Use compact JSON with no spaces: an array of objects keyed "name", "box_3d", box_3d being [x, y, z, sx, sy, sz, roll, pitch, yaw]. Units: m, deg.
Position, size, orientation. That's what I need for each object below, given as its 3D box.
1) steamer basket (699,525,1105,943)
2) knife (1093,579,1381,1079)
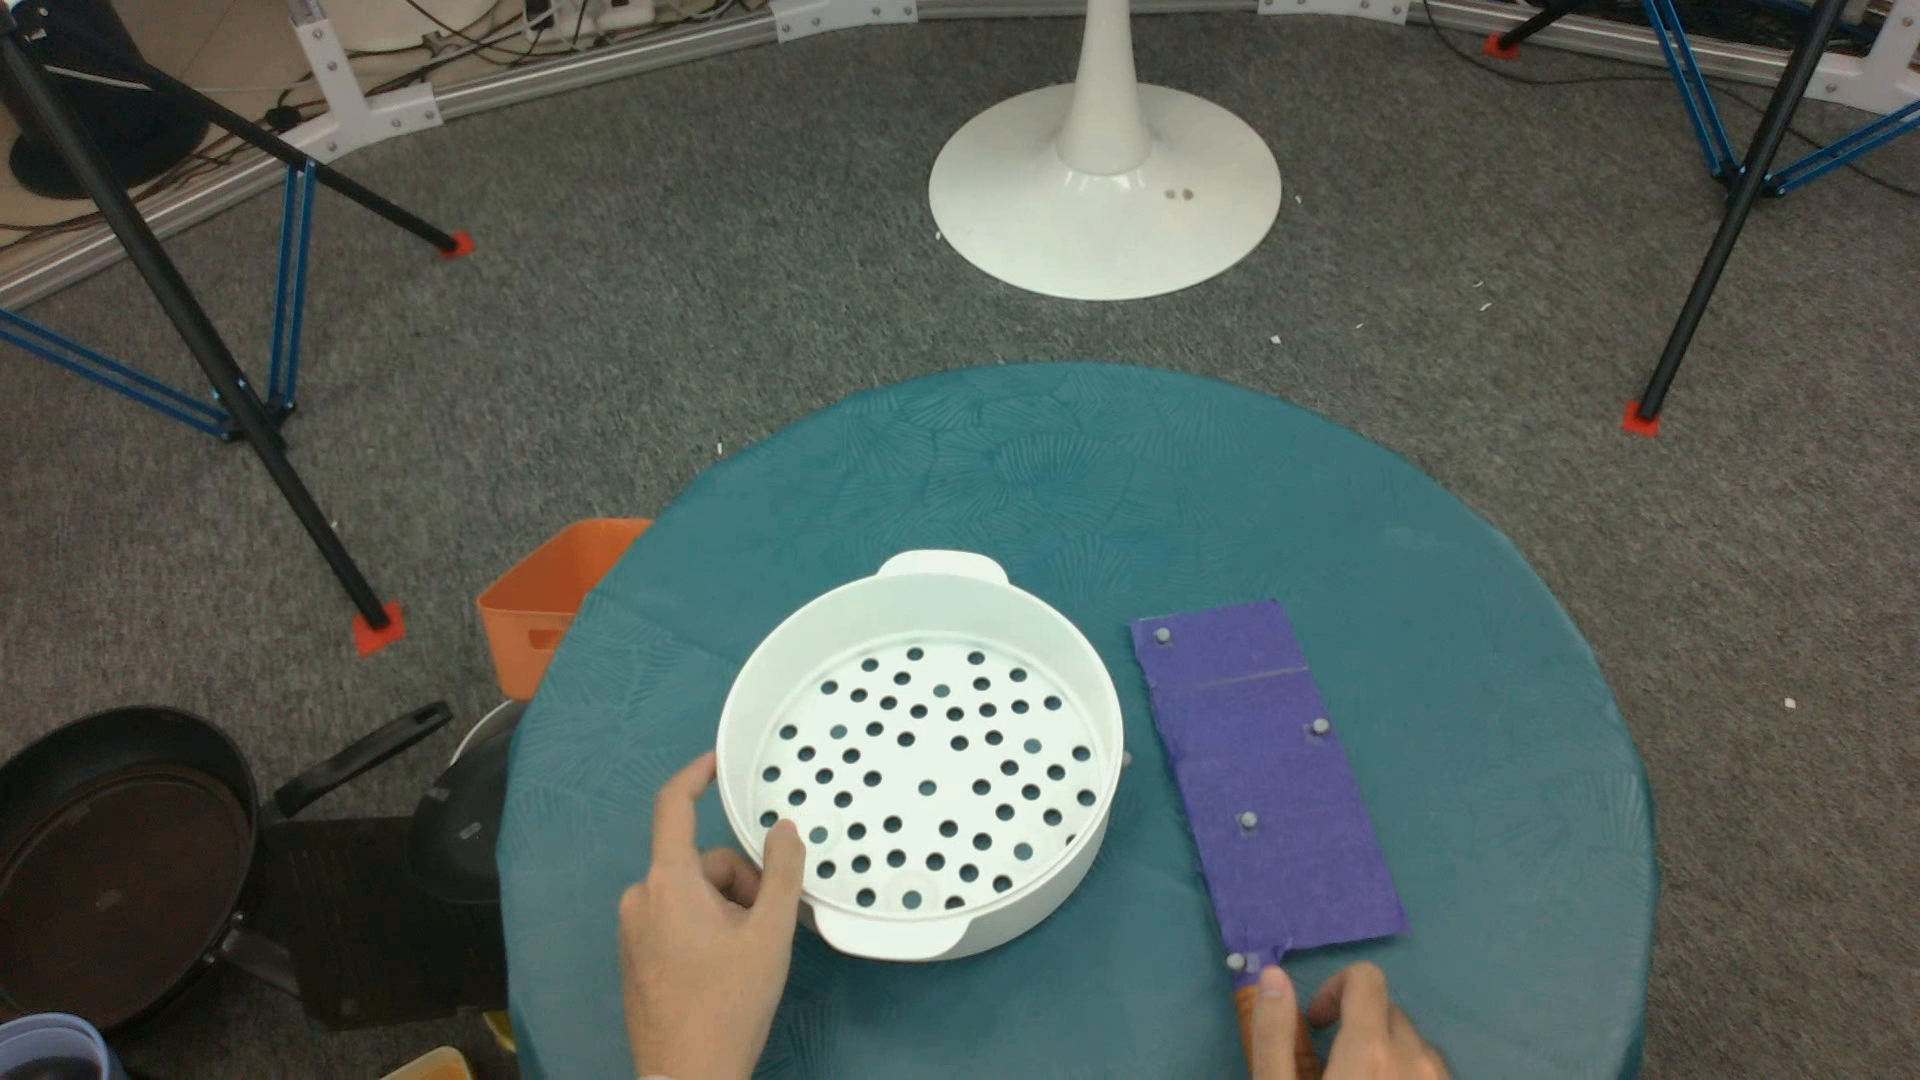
[{"name":"steamer basket","box_3d":[-0.028,0.102,0.706,0.202,0.069,0.231,3,55,6]},{"name":"knife","box_3d":[0.152,0.143,0.689,0.104,0.032,0.316,-9,51,-5]}]
